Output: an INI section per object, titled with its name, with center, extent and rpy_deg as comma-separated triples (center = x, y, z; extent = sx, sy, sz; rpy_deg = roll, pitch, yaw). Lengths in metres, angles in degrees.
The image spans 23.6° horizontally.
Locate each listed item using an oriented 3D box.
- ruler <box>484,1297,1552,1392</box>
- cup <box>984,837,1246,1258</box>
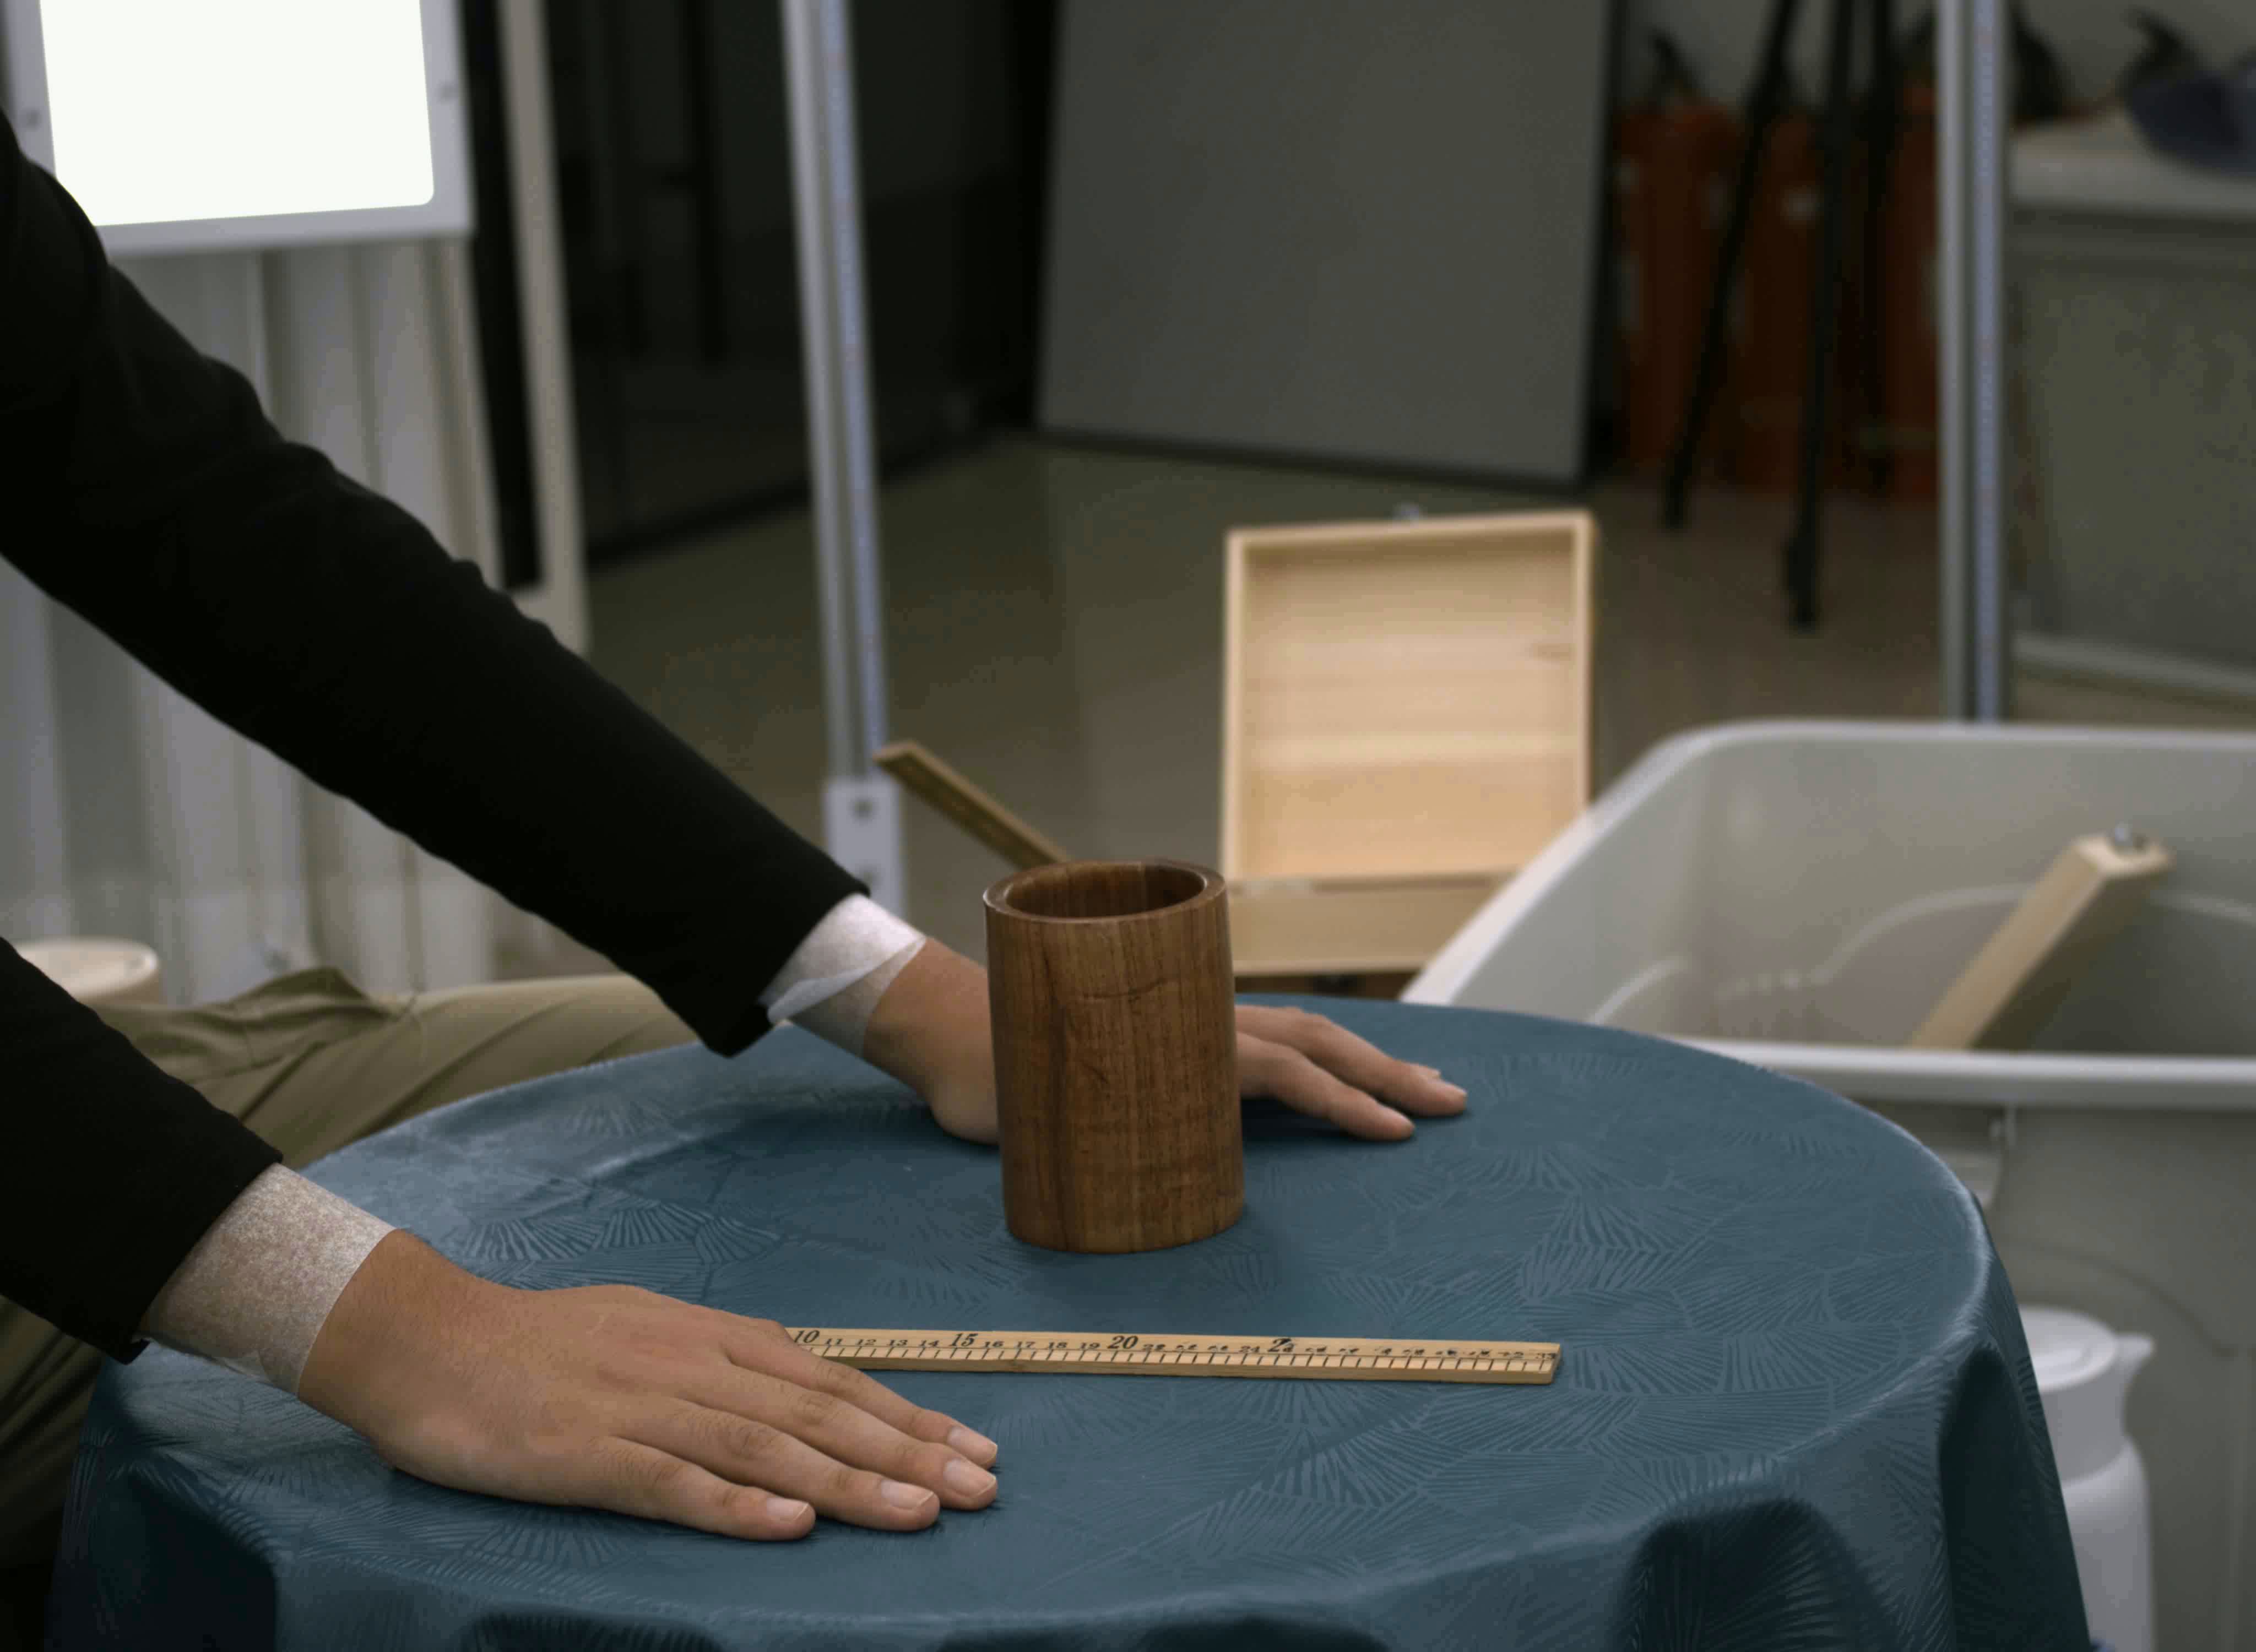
[ruler]
center = -0.036, 0.155, 1.619
extent = 0.330, 0.022, 0.027
rpy_deg = 0, 10, 16
[cup]
center = -0.003, 0.070, 1.731
extent = 0.086, 0.120, 0.088
rpy_deg = -4, 12, 0
